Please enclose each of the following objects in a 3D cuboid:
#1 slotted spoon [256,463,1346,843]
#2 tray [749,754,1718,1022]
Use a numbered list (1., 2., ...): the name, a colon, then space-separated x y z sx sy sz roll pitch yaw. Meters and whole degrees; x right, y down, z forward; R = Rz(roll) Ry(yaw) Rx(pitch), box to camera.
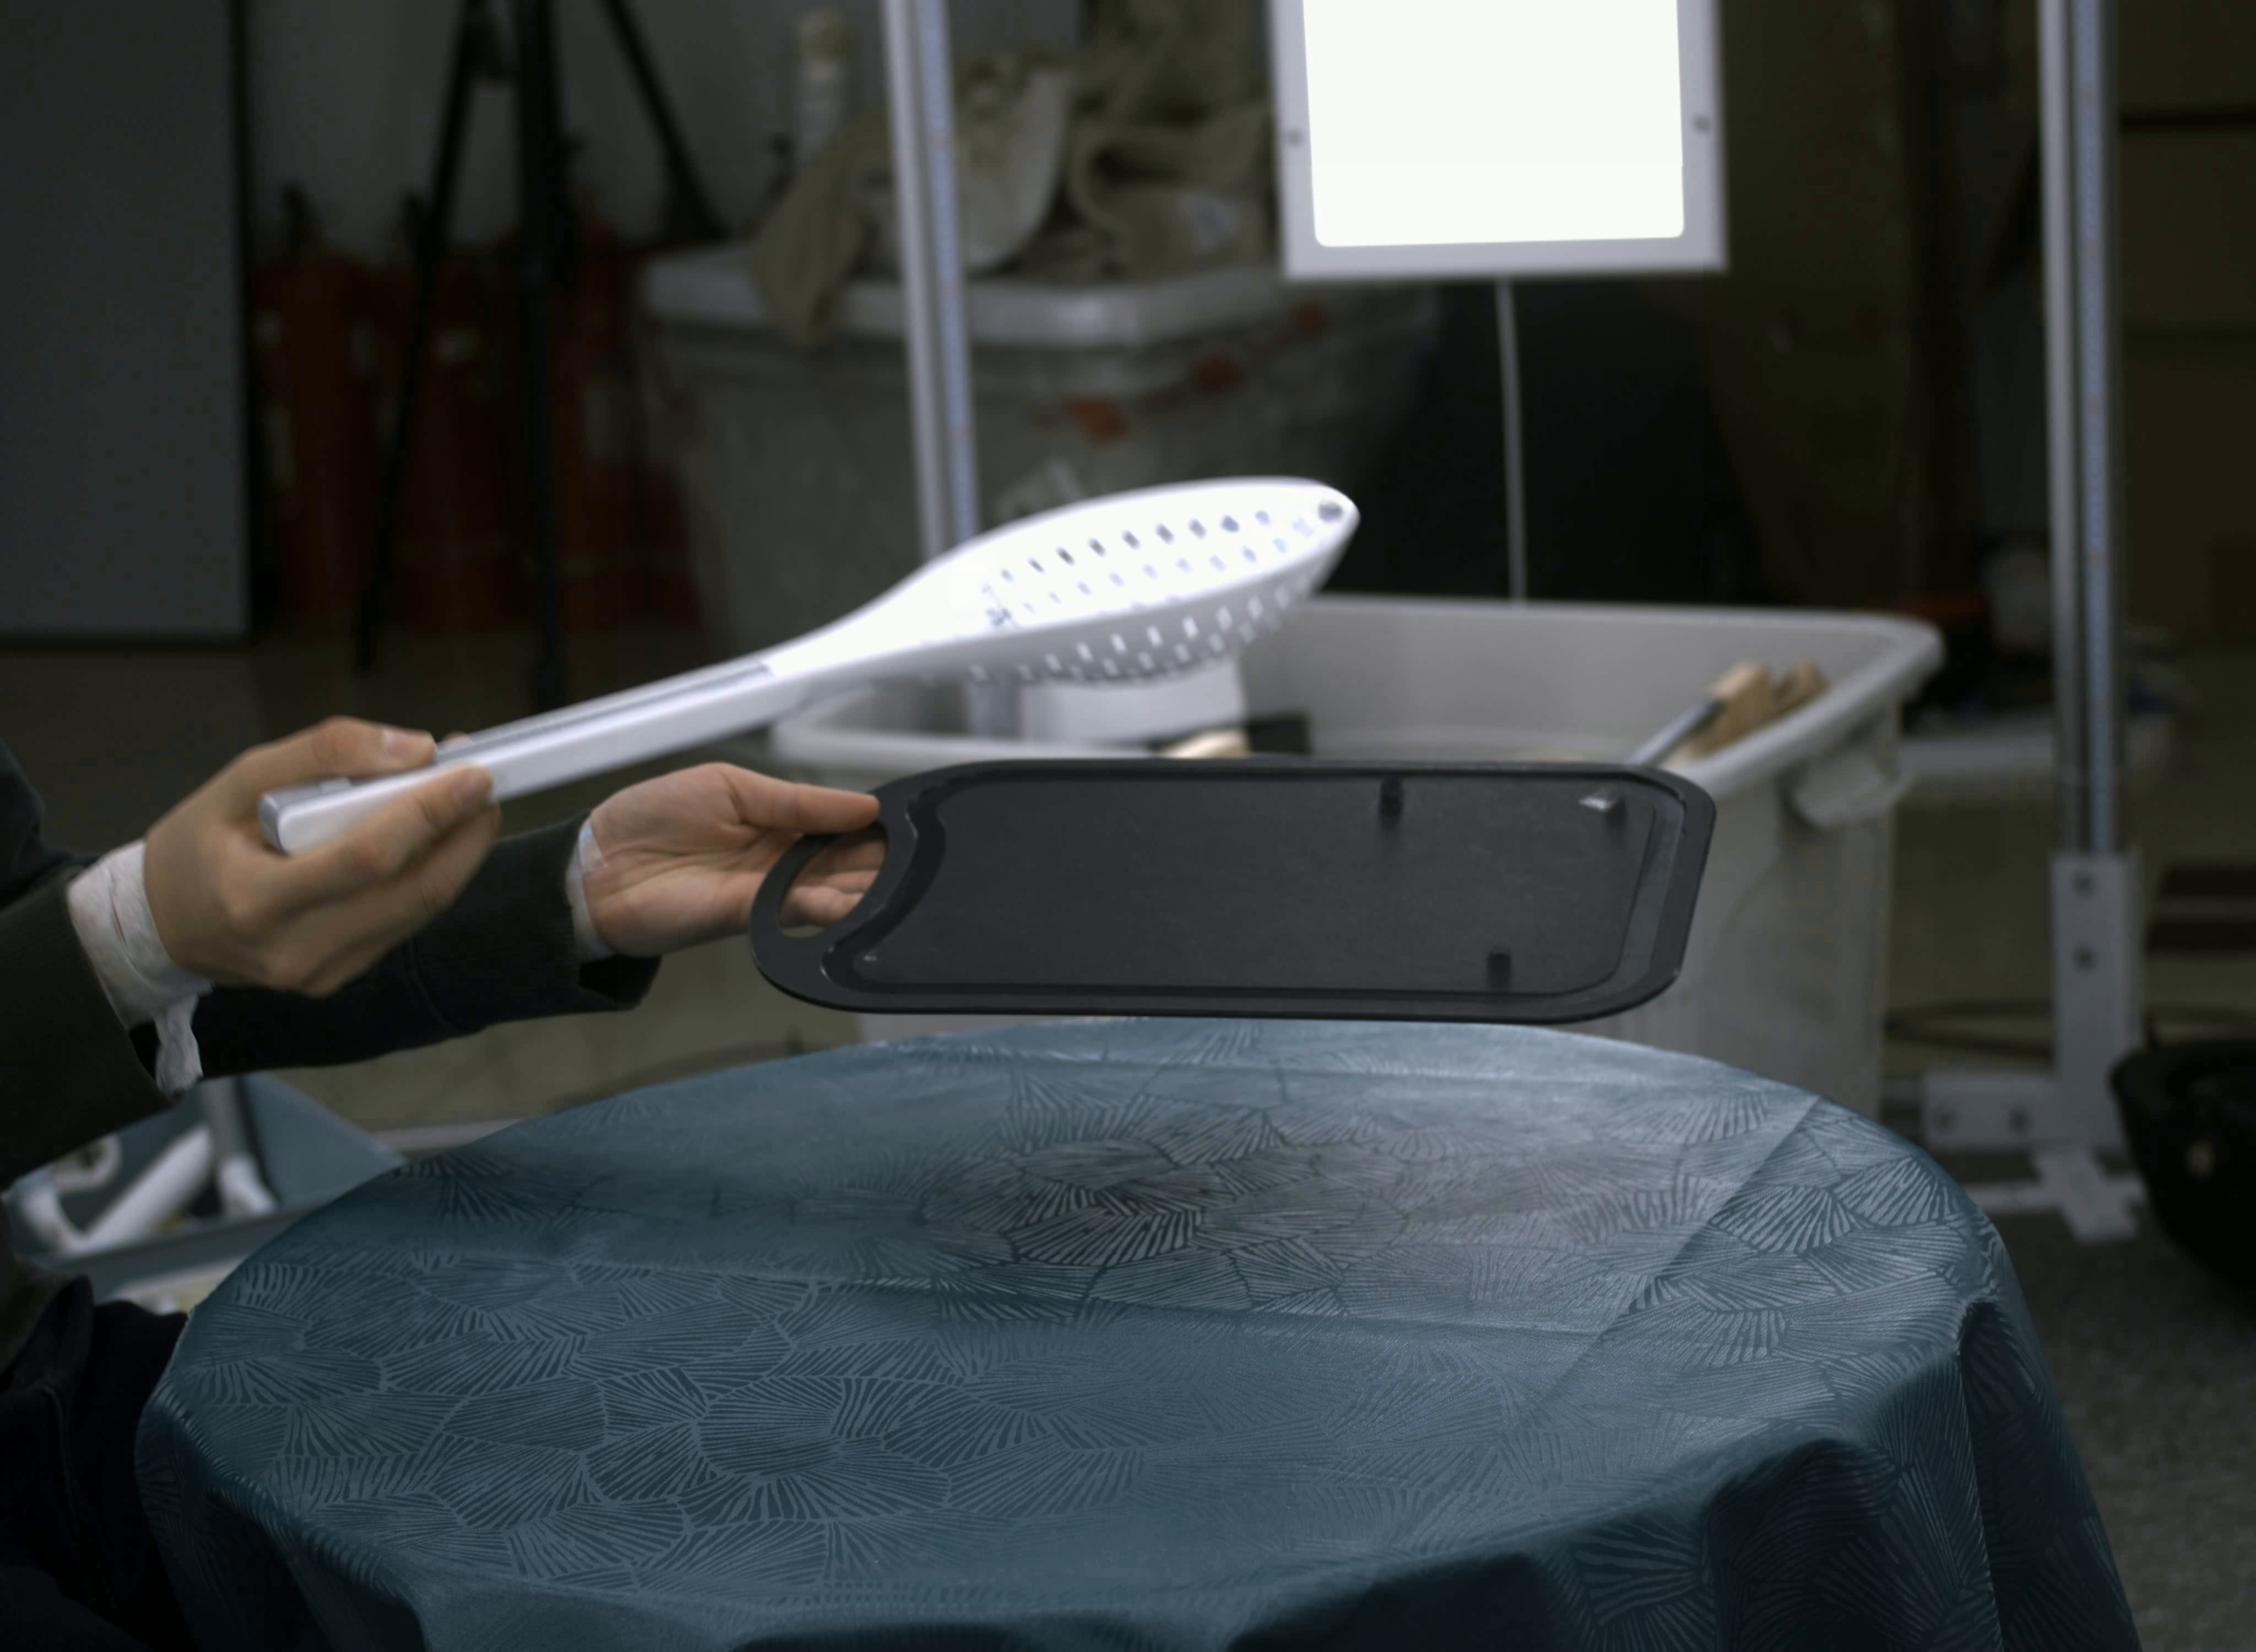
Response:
1. slotted spoon: -0.094 -0.053 1.651 0.343 0.046 0.138 -13 15 -20
2. tray: 0.033 0.017 1.865 0.328 0.010 0.208 0 24 14
